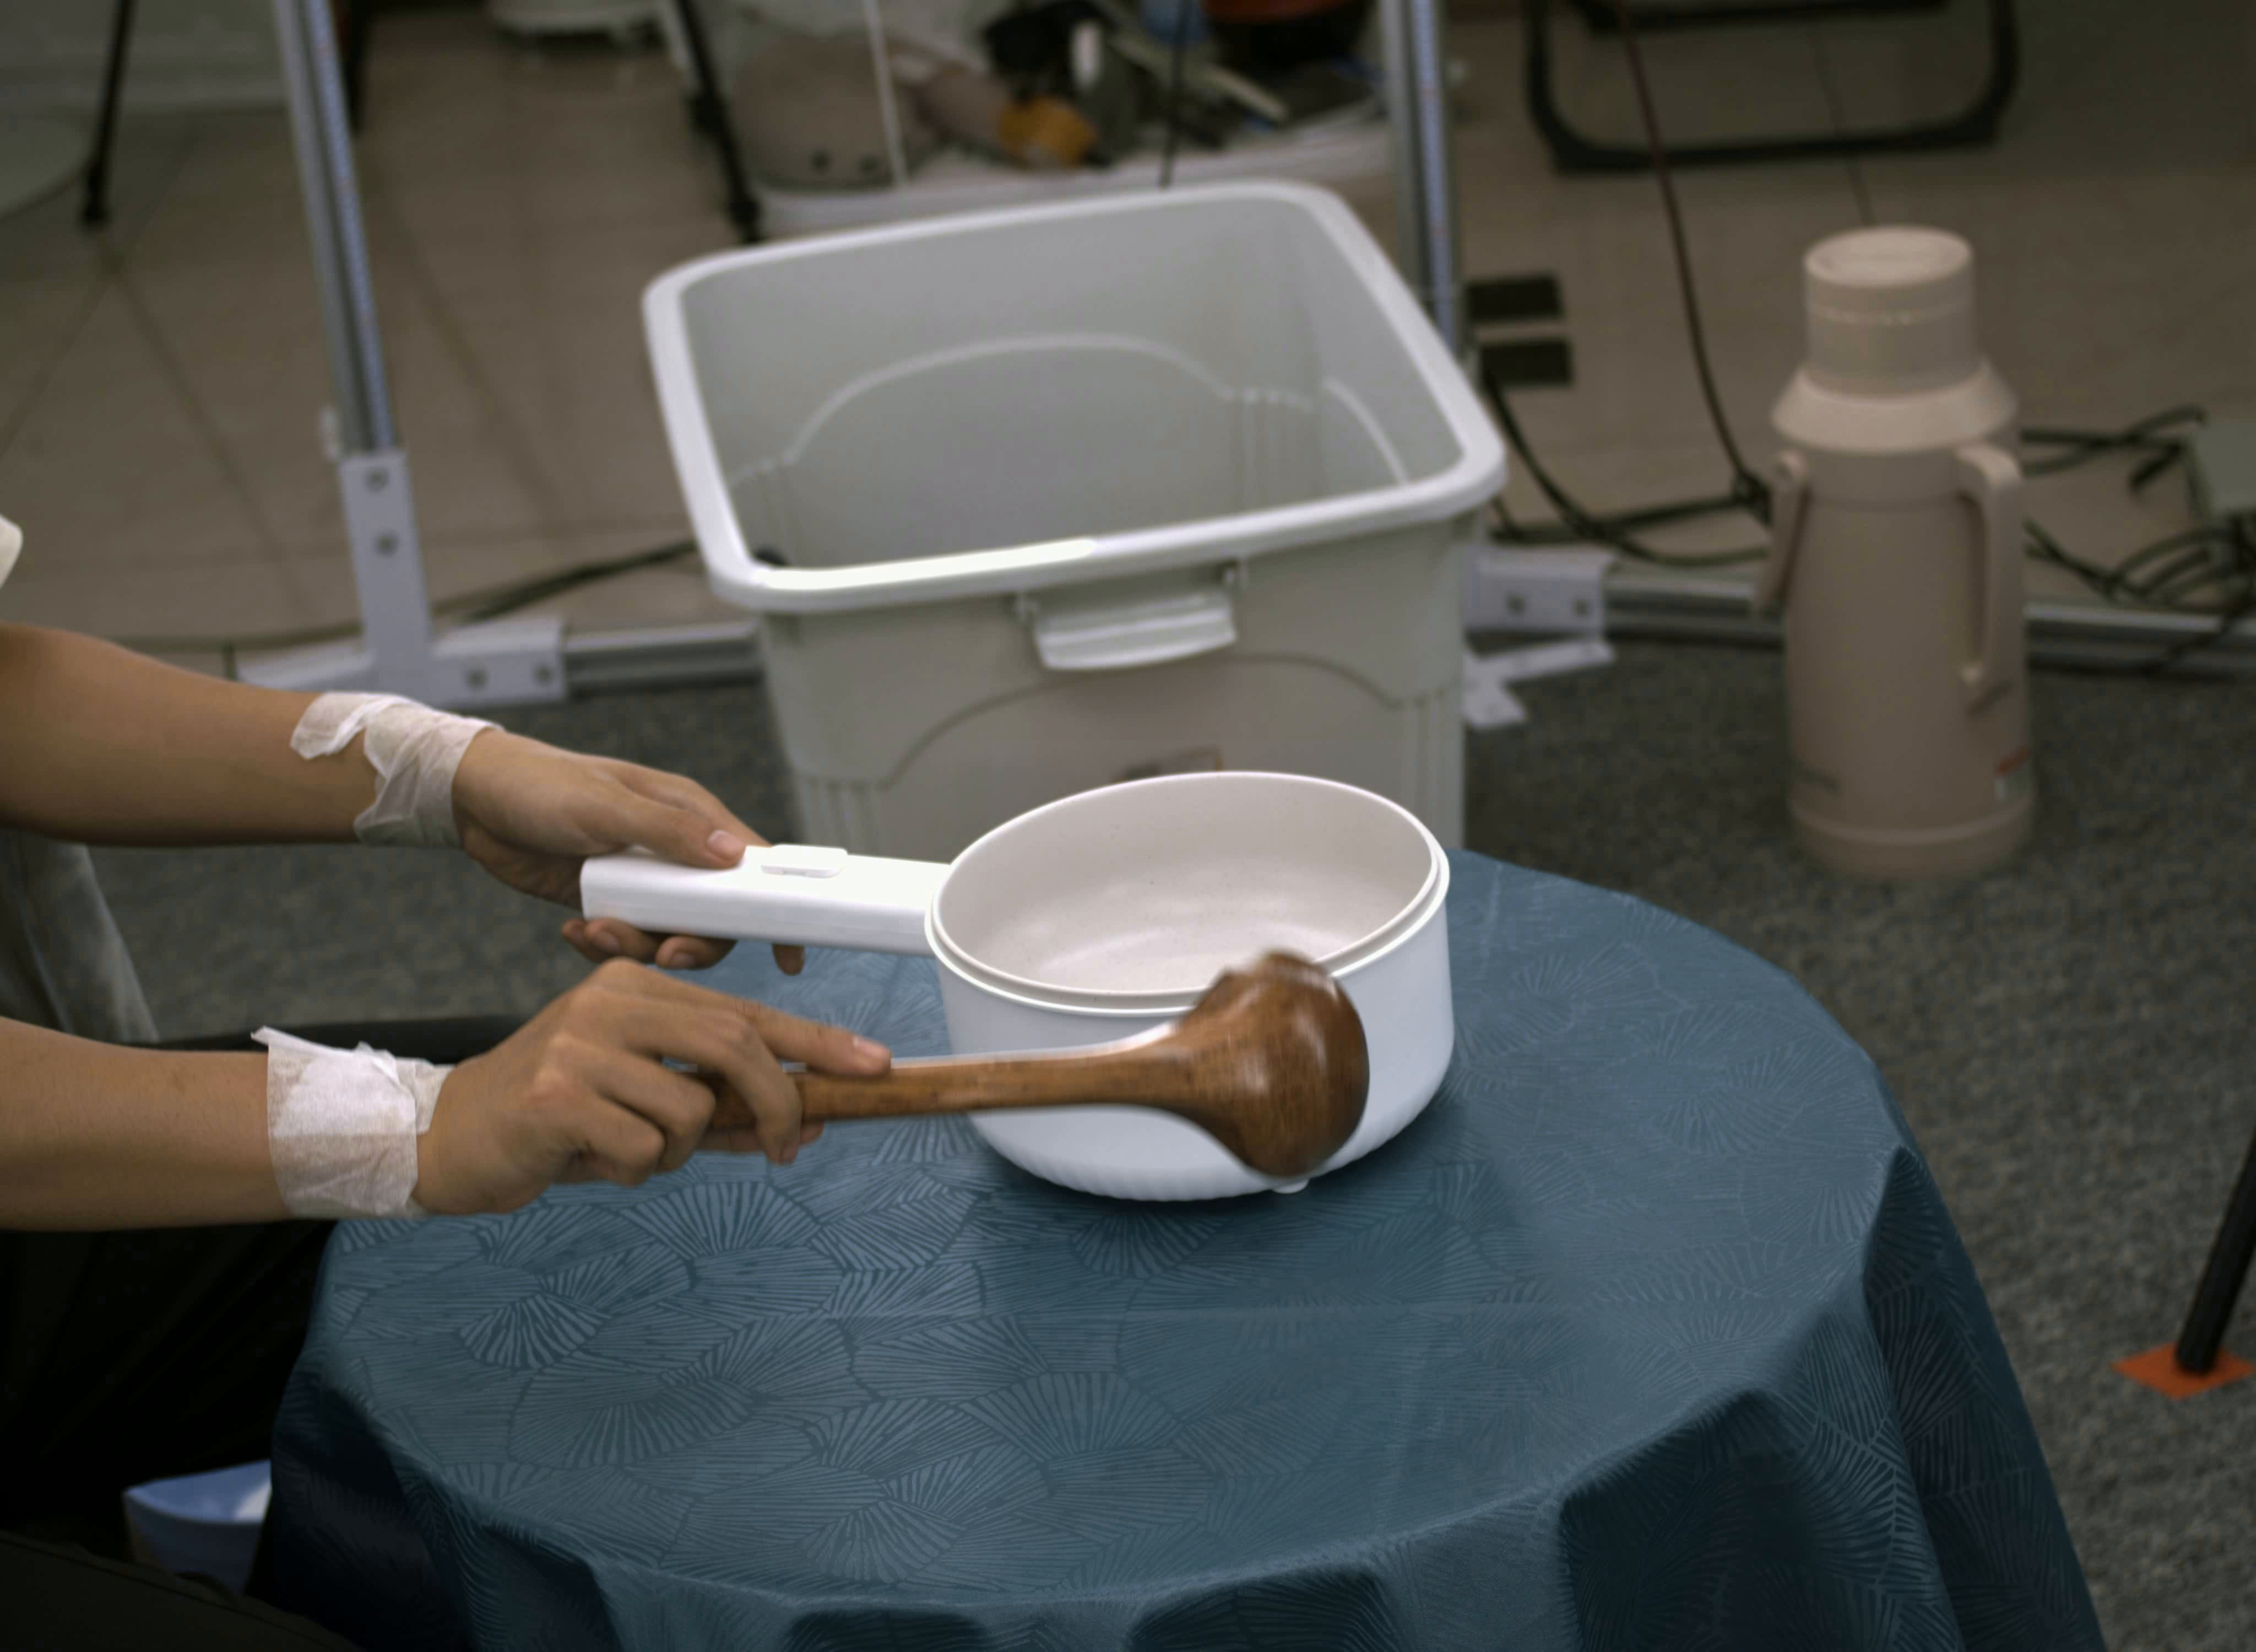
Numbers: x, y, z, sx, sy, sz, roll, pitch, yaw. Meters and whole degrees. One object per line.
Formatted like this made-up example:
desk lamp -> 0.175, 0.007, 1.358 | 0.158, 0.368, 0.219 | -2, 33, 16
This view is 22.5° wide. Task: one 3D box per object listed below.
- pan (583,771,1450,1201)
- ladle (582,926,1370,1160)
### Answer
pan -> -0.045, 0.060, 2.212 | 0.354, 0.104, 0.198 | 4, 28, 23
ladle -> -0.051, 0.085, 1.966 | 0.273, 0.081, 0.077 | -5, -7, -3
